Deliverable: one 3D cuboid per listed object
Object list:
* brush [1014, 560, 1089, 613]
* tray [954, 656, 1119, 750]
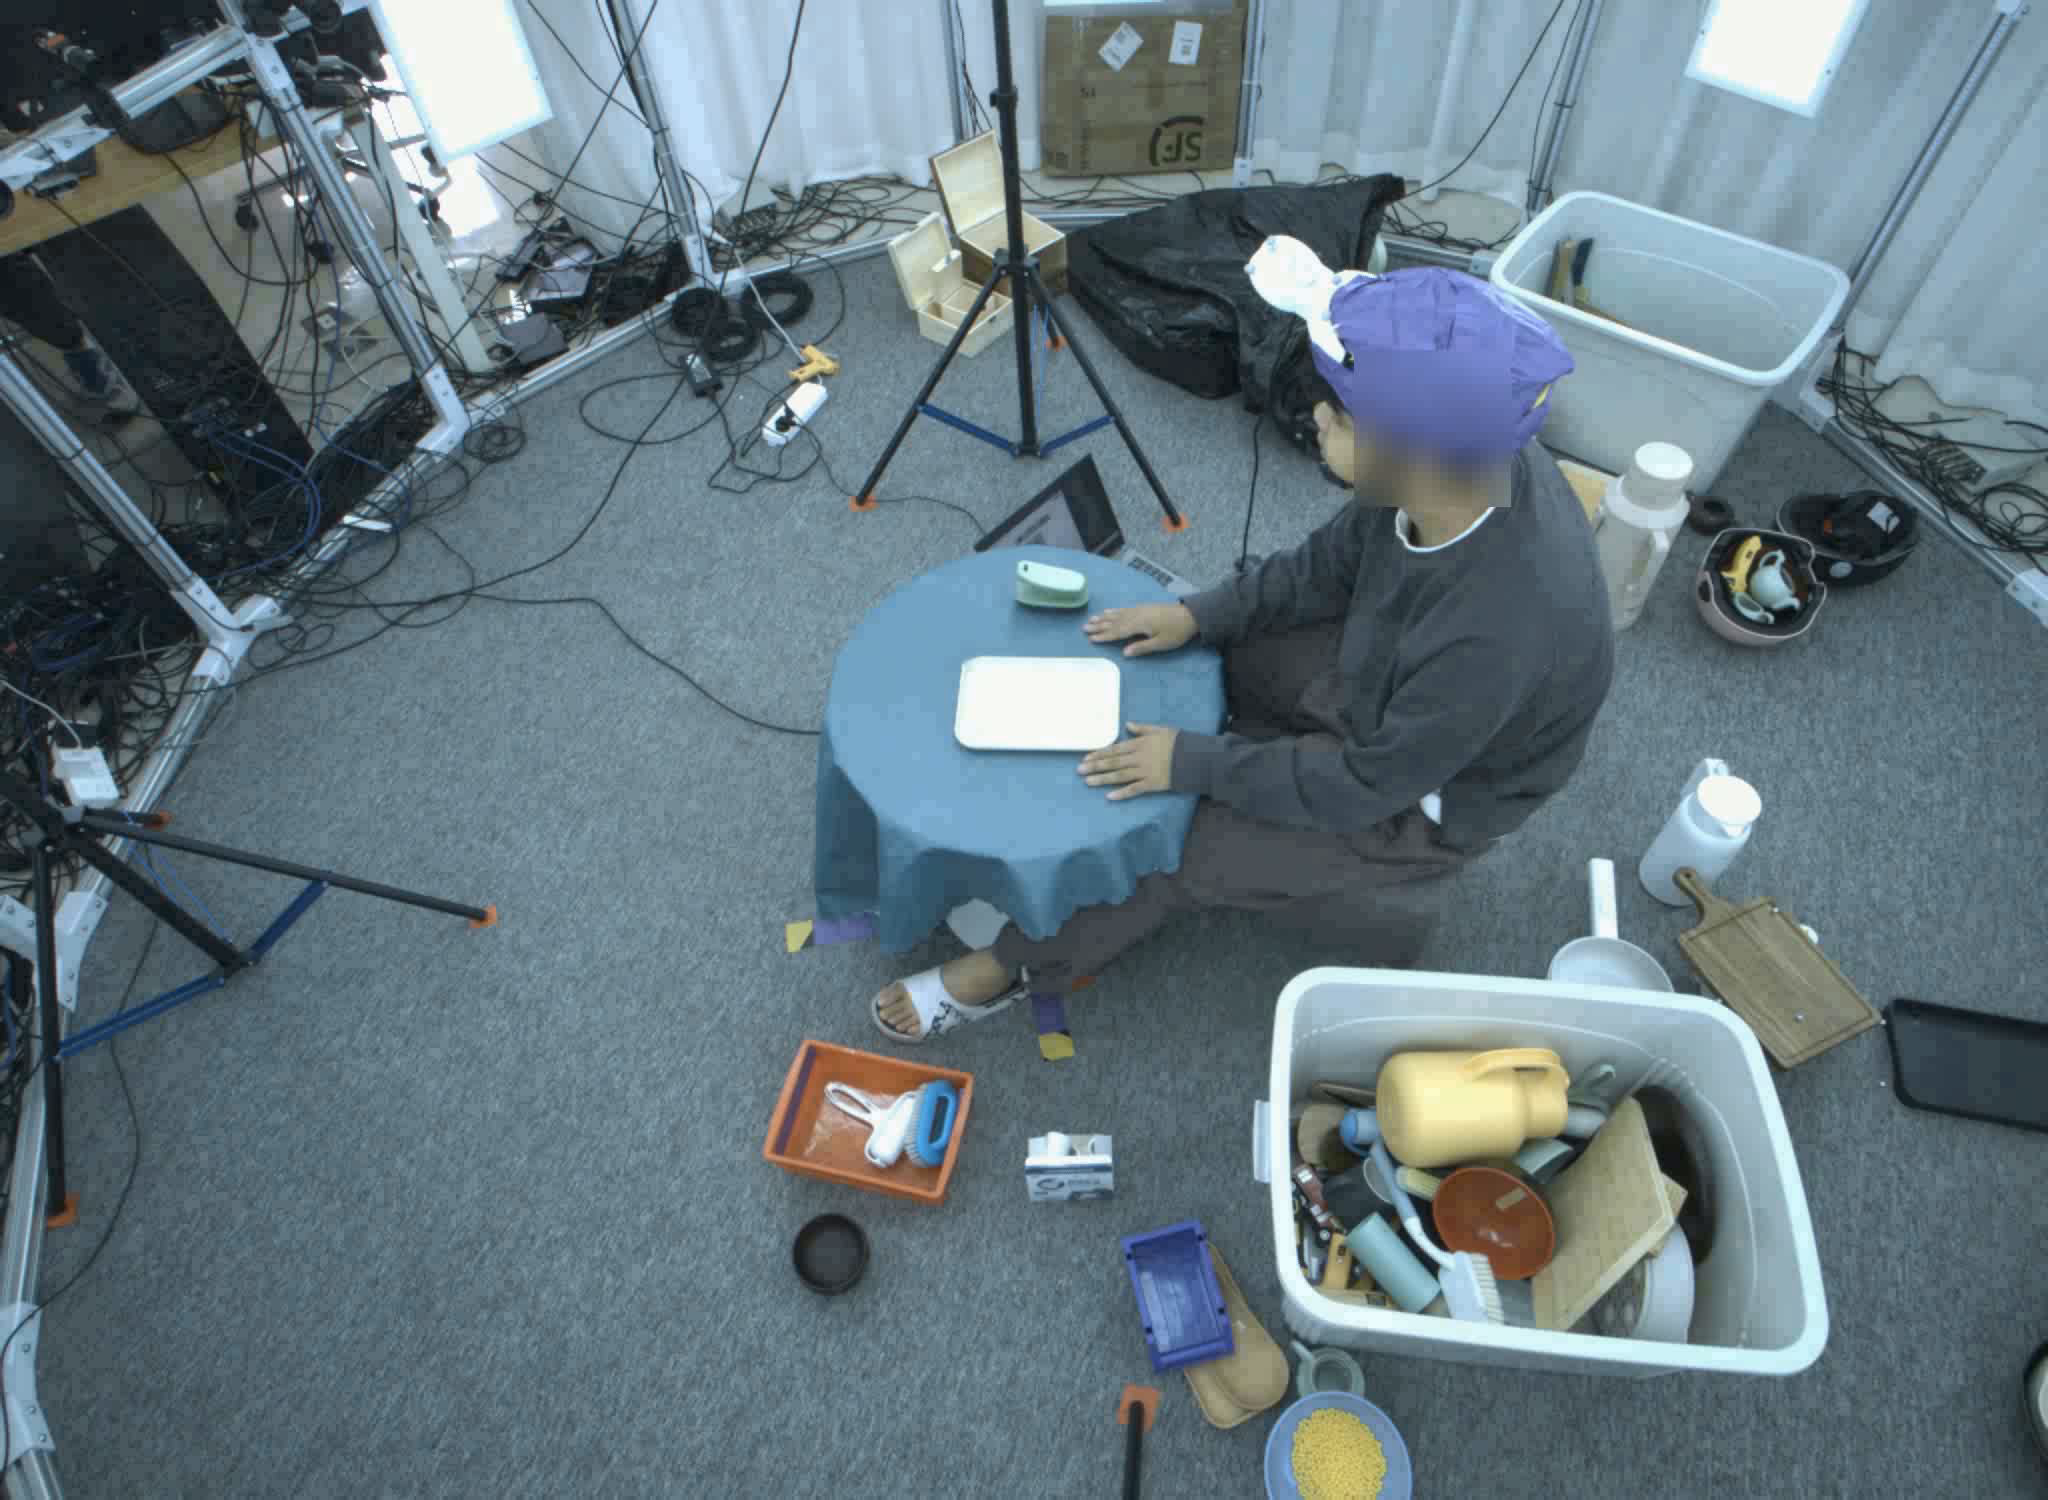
[{"bbox_3d":[0.041,-0.254,1.933,0.124,0.076,0.059,12,56,-7],"label":"brush"},{"bbox_3d":[0.020,-0.070,1.825,0.239,0.017,0.170,2,55,2],"label":"tray"}]
